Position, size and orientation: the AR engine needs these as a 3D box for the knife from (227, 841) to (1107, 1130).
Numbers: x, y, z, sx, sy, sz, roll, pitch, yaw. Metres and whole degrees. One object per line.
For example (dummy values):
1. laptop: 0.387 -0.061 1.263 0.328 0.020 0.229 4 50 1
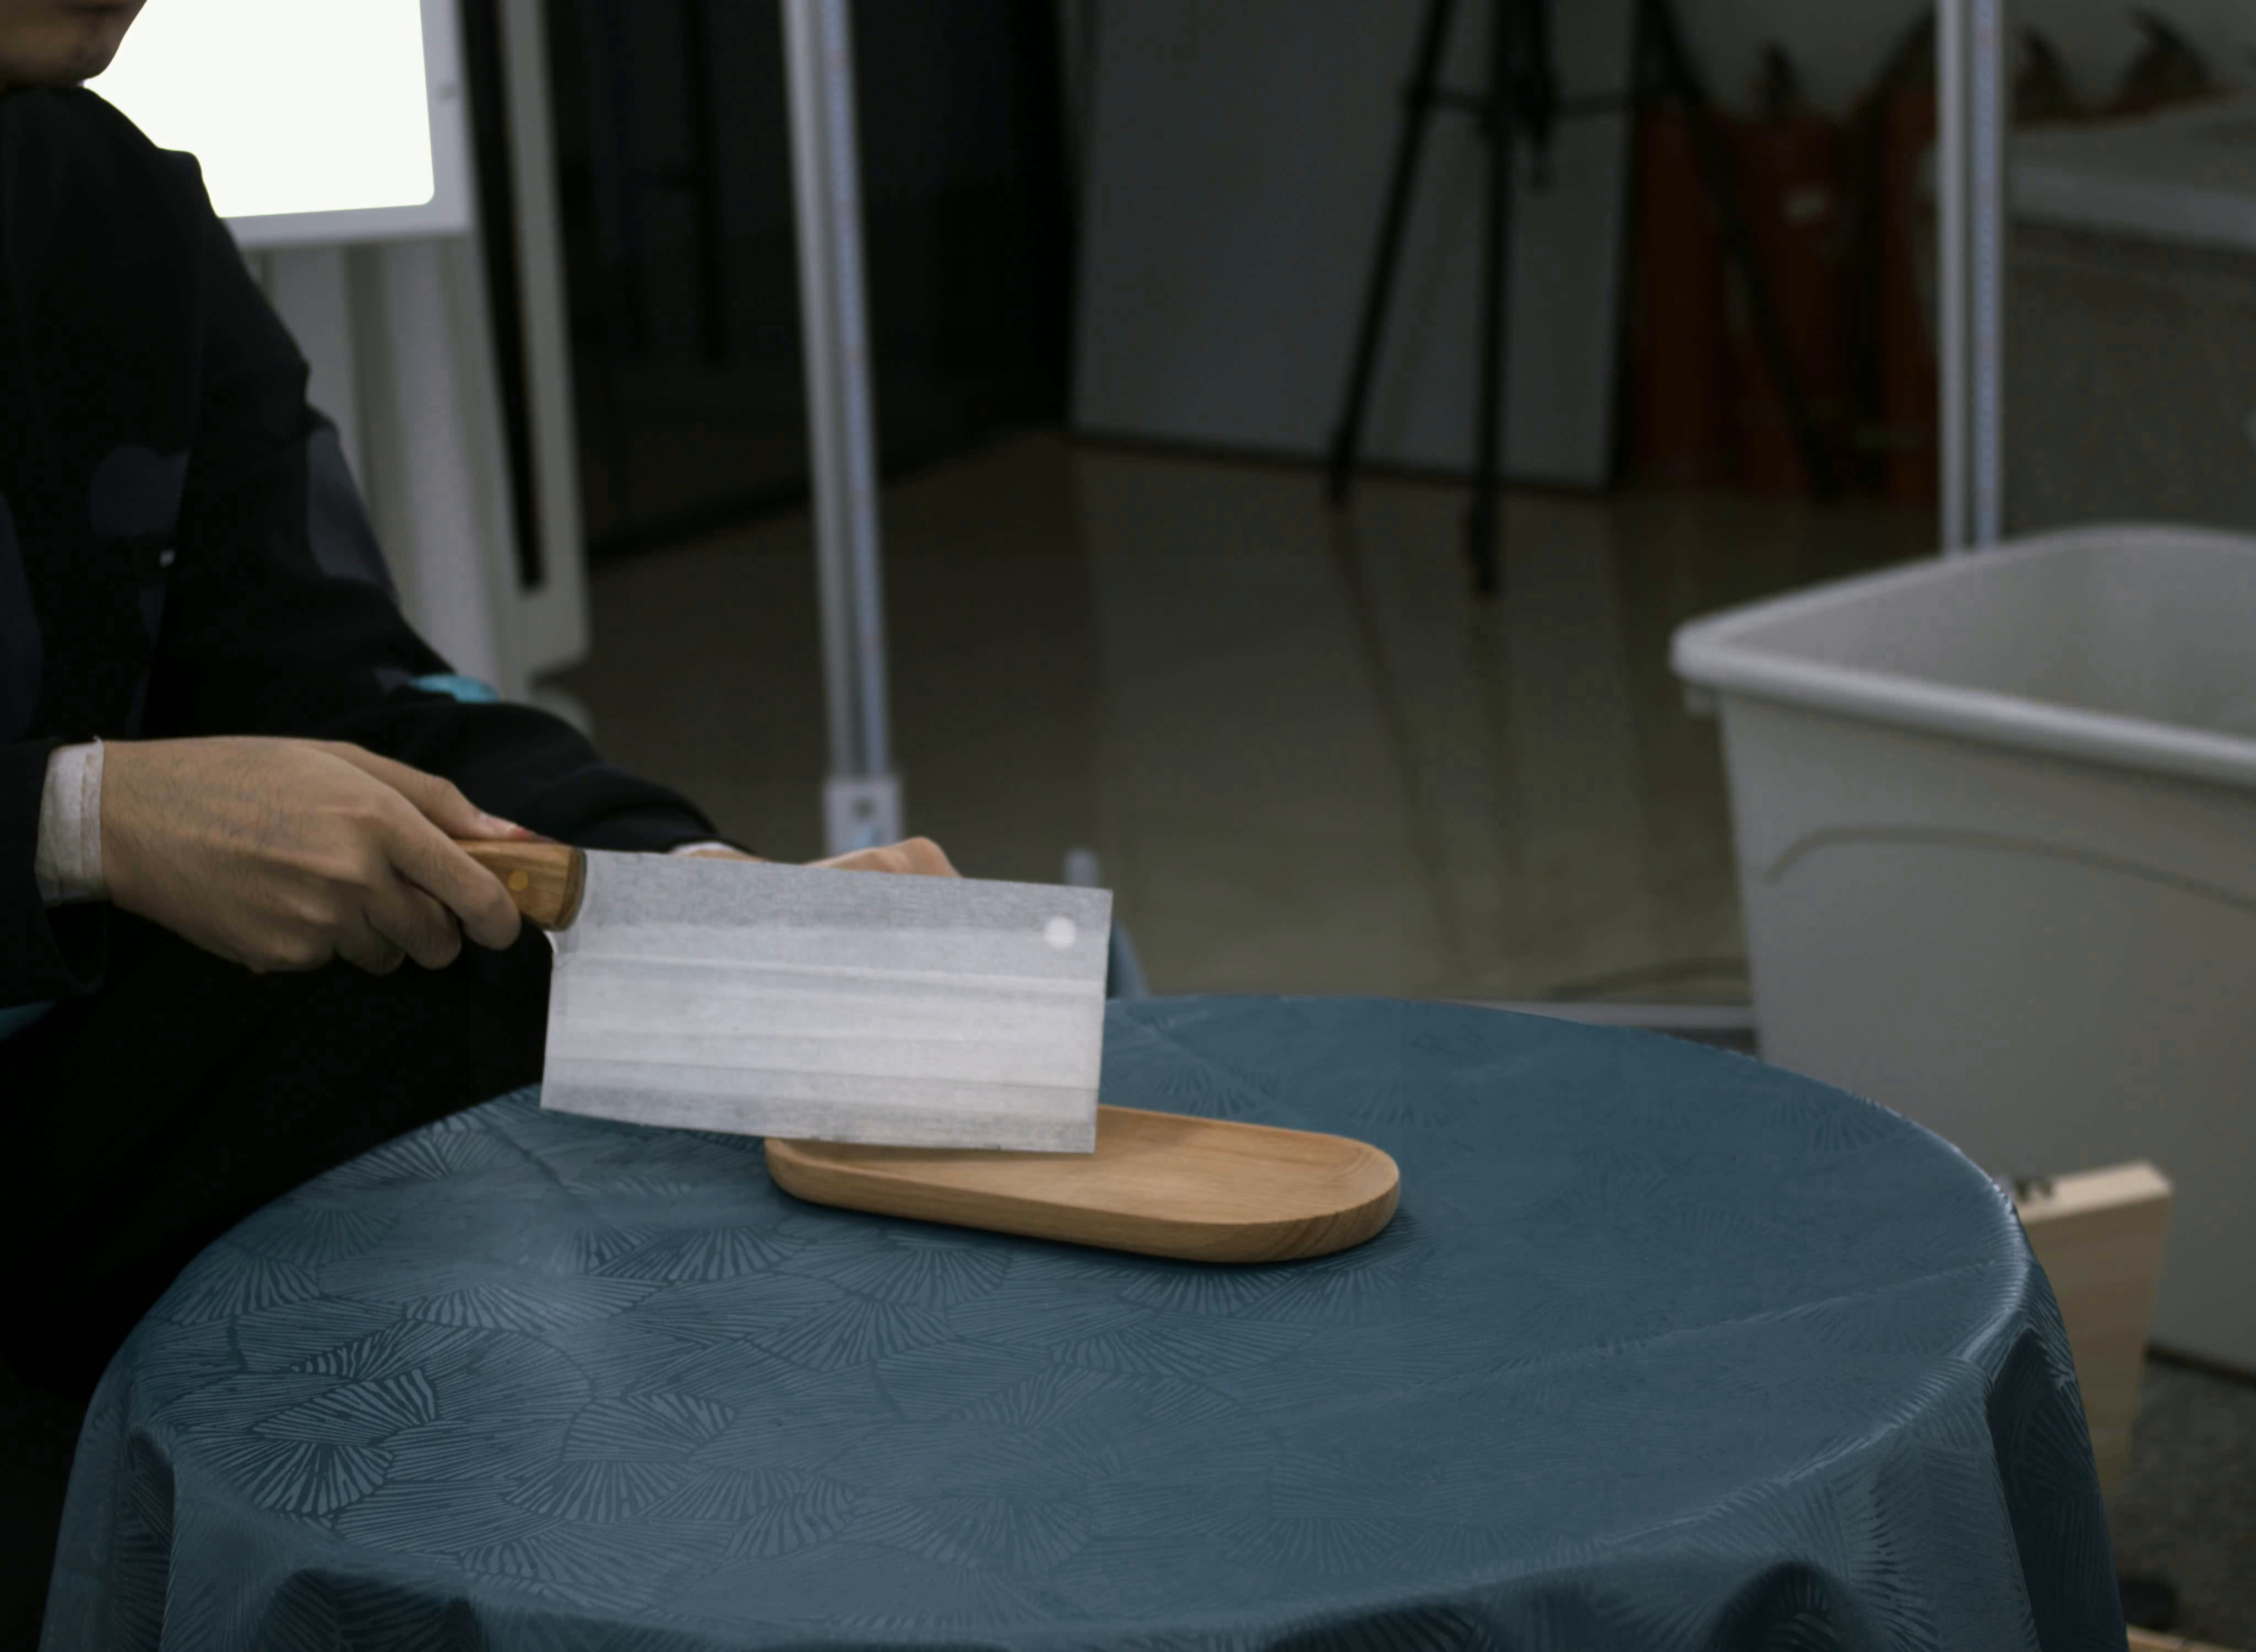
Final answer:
1. knife: -0.156 0.054 1.805 0.303 0.094 0.021 4 1 10

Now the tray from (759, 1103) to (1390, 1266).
1. tray: -0.019 0.115 1.766 0.232 0.020 0.100 4 14 35
